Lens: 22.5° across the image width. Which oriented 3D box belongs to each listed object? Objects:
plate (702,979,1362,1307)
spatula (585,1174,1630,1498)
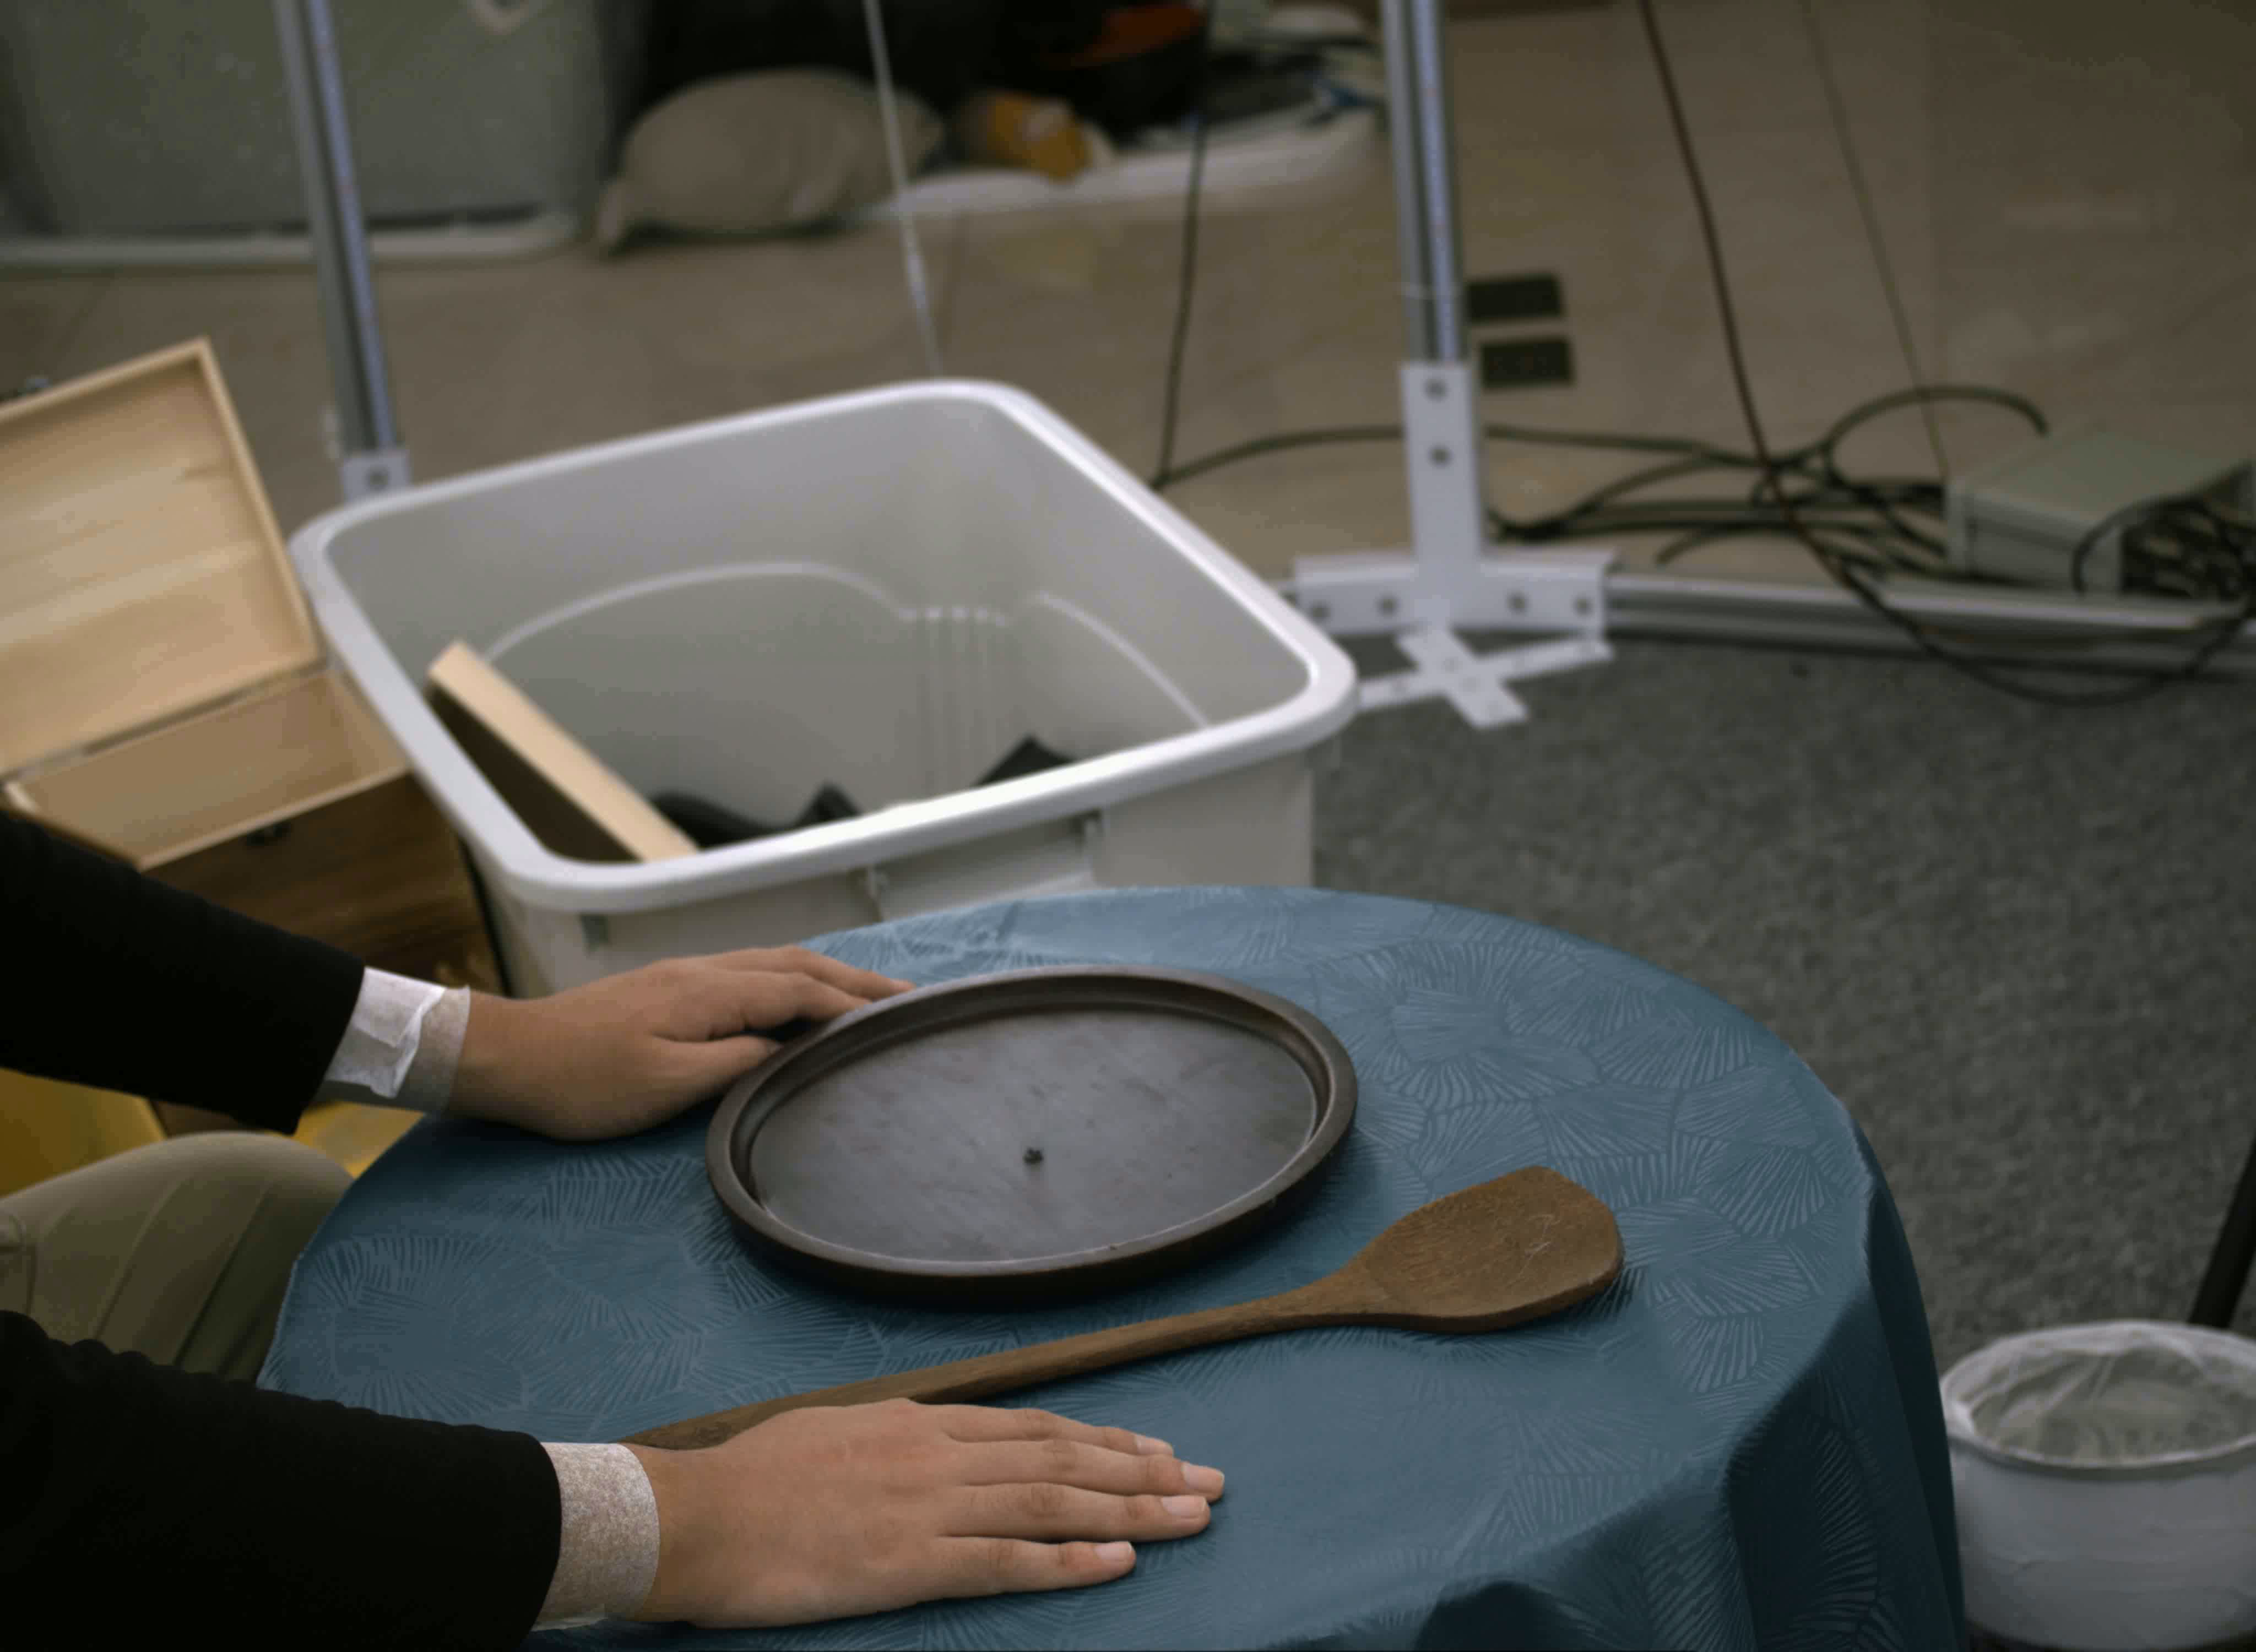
[{"bbox_3d":[-0.036,0.120,2.173,0.254,0.029,0.251,-4,24,2],"label":"plate"},{"bbox_3d":[-0.007,0.187,2.030,0.385,0.016,0.095,-12,25,-12],"label":"spatula"}]
